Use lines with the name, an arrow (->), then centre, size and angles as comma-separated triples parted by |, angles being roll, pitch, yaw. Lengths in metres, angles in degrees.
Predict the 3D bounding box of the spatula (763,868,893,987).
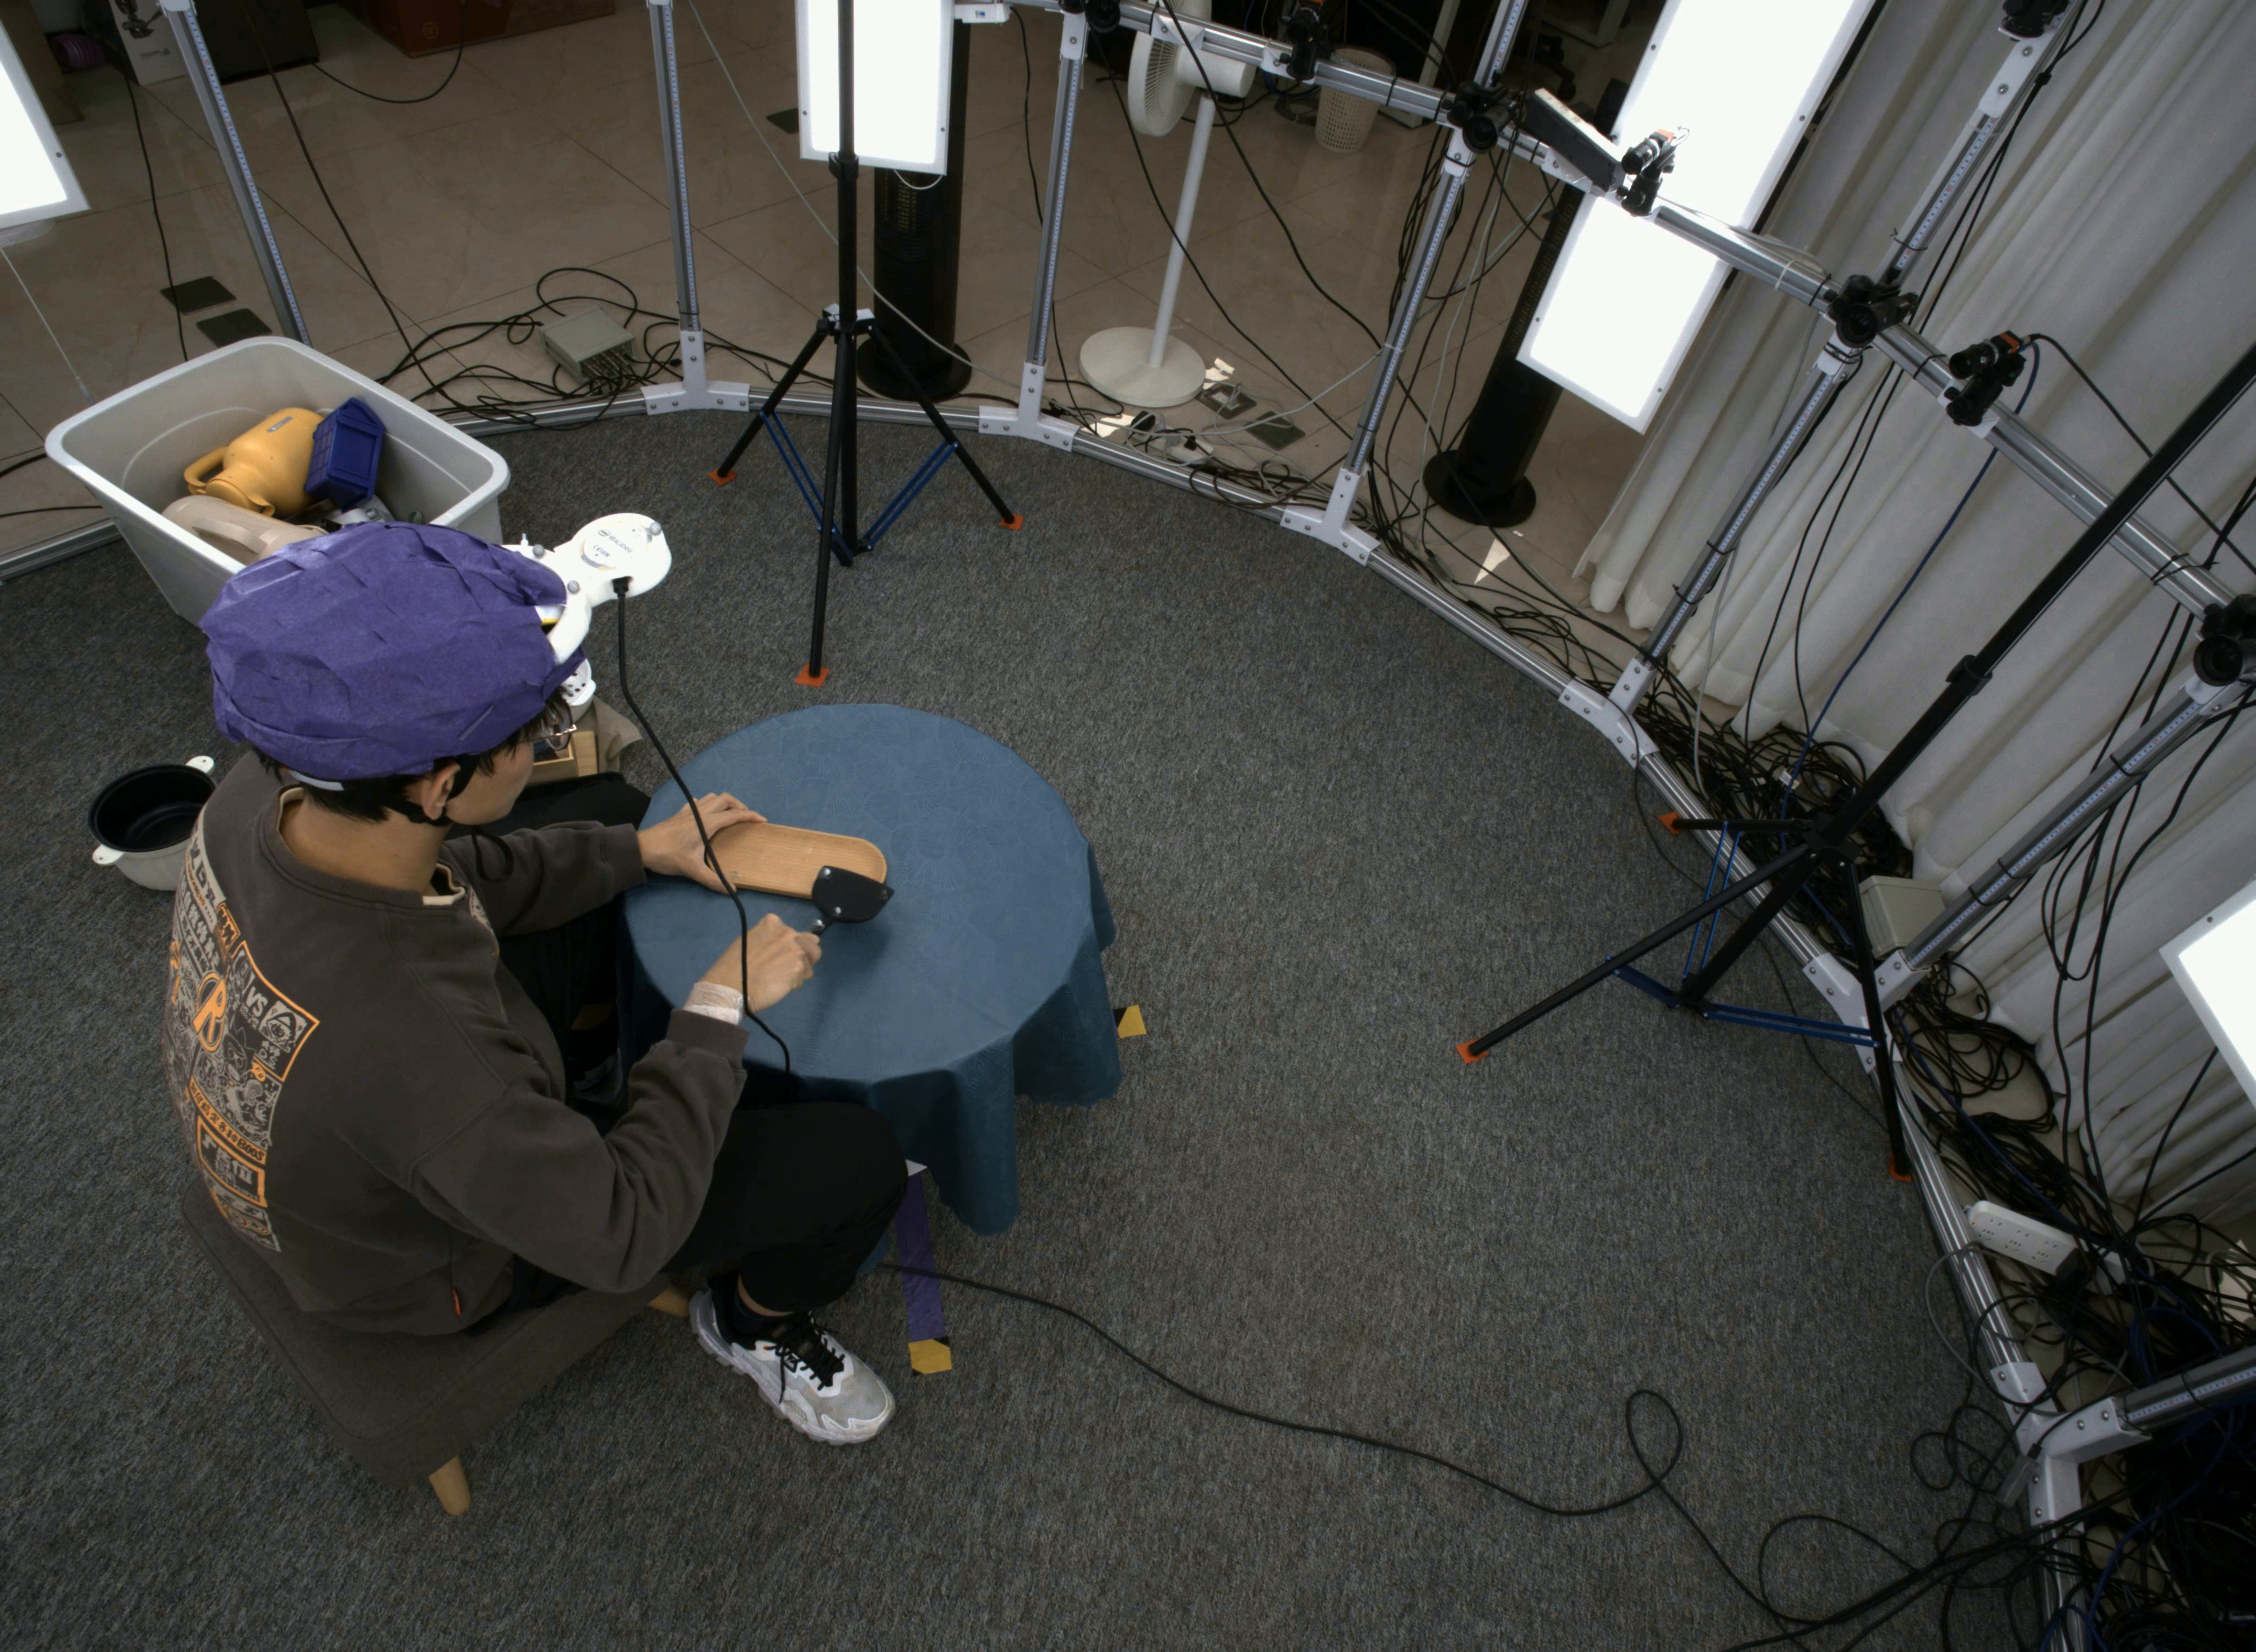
spatula -> -0.359, 0.115, 1.499 | 0.099, 0.041, 0.323 | 19, 13, 0

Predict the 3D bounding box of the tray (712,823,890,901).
tray -> -0.426, 0.050, 1.691 | 0.231, 0.020, 0.100 | 10, 54, -8
